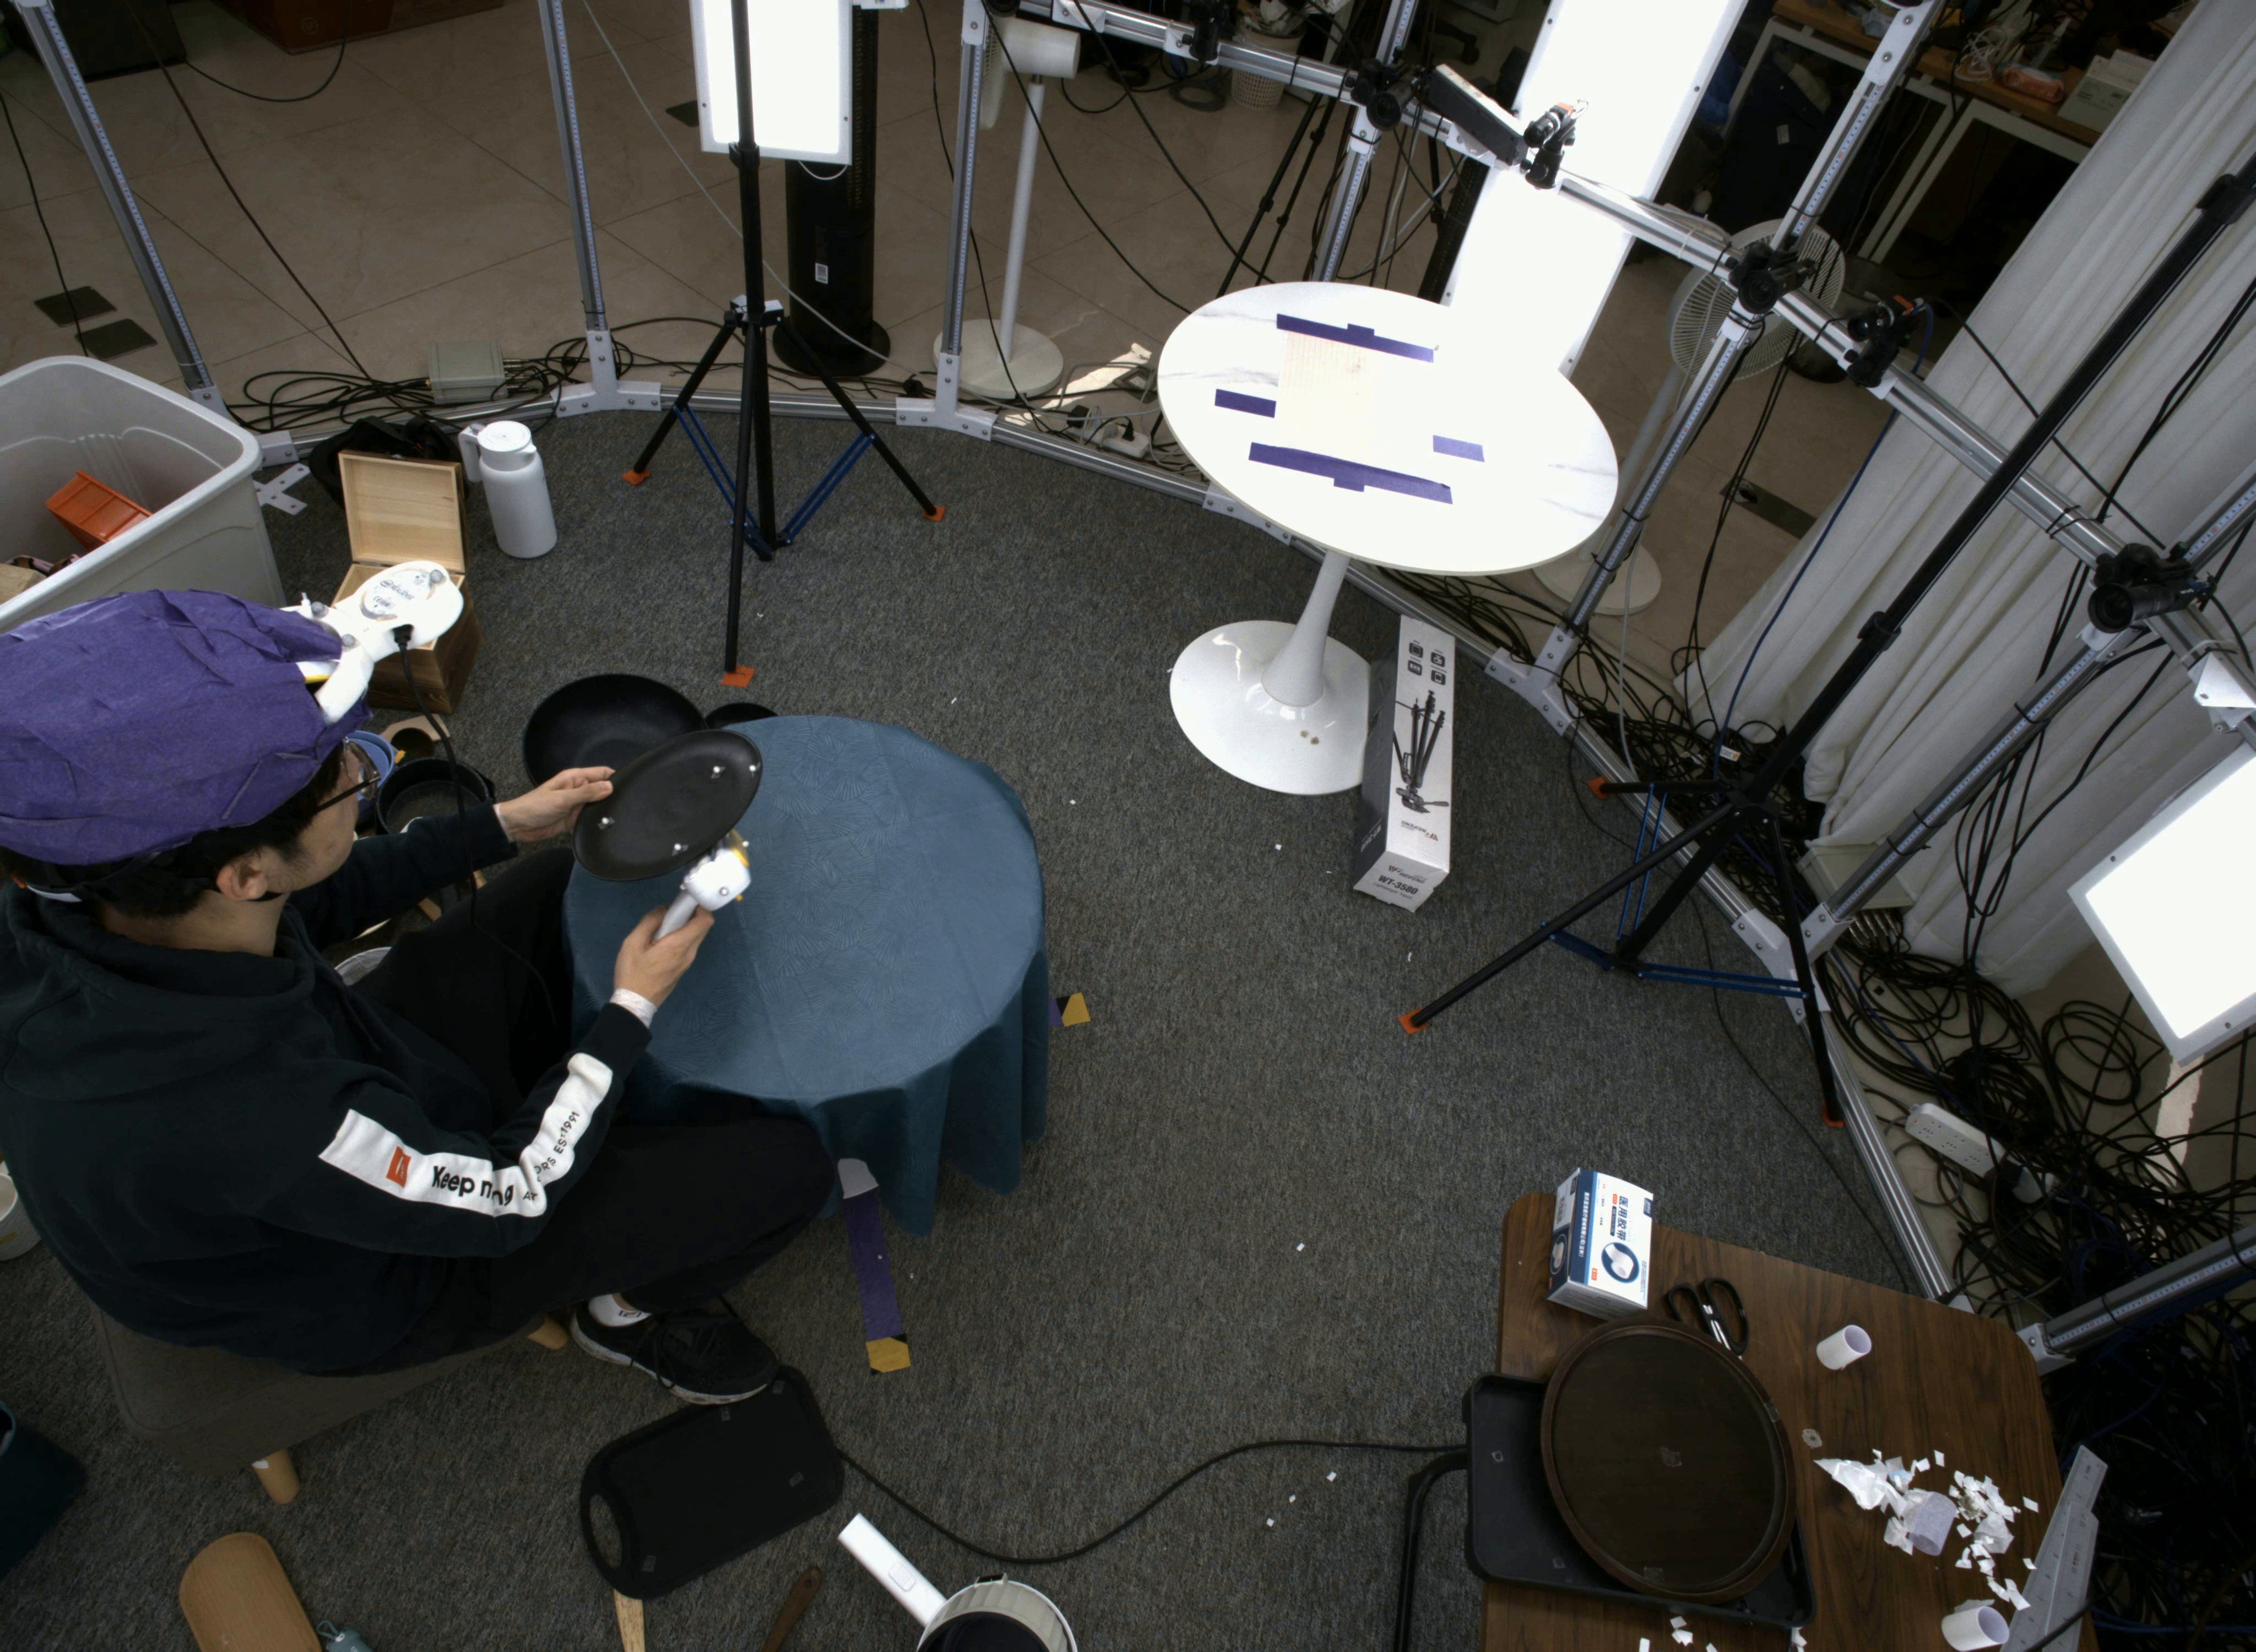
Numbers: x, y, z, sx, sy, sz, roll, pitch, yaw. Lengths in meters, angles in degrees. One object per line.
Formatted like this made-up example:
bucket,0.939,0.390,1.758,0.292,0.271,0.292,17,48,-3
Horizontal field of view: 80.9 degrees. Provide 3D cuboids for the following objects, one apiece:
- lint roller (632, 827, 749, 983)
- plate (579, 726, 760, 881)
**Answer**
lint roller,-0.508,0.091,1.466,0.192,0.187,0.076,-43,115,-3
plate,-0.535,-0.026,1.500,0.240,0.024,0.239,-10,46,12
